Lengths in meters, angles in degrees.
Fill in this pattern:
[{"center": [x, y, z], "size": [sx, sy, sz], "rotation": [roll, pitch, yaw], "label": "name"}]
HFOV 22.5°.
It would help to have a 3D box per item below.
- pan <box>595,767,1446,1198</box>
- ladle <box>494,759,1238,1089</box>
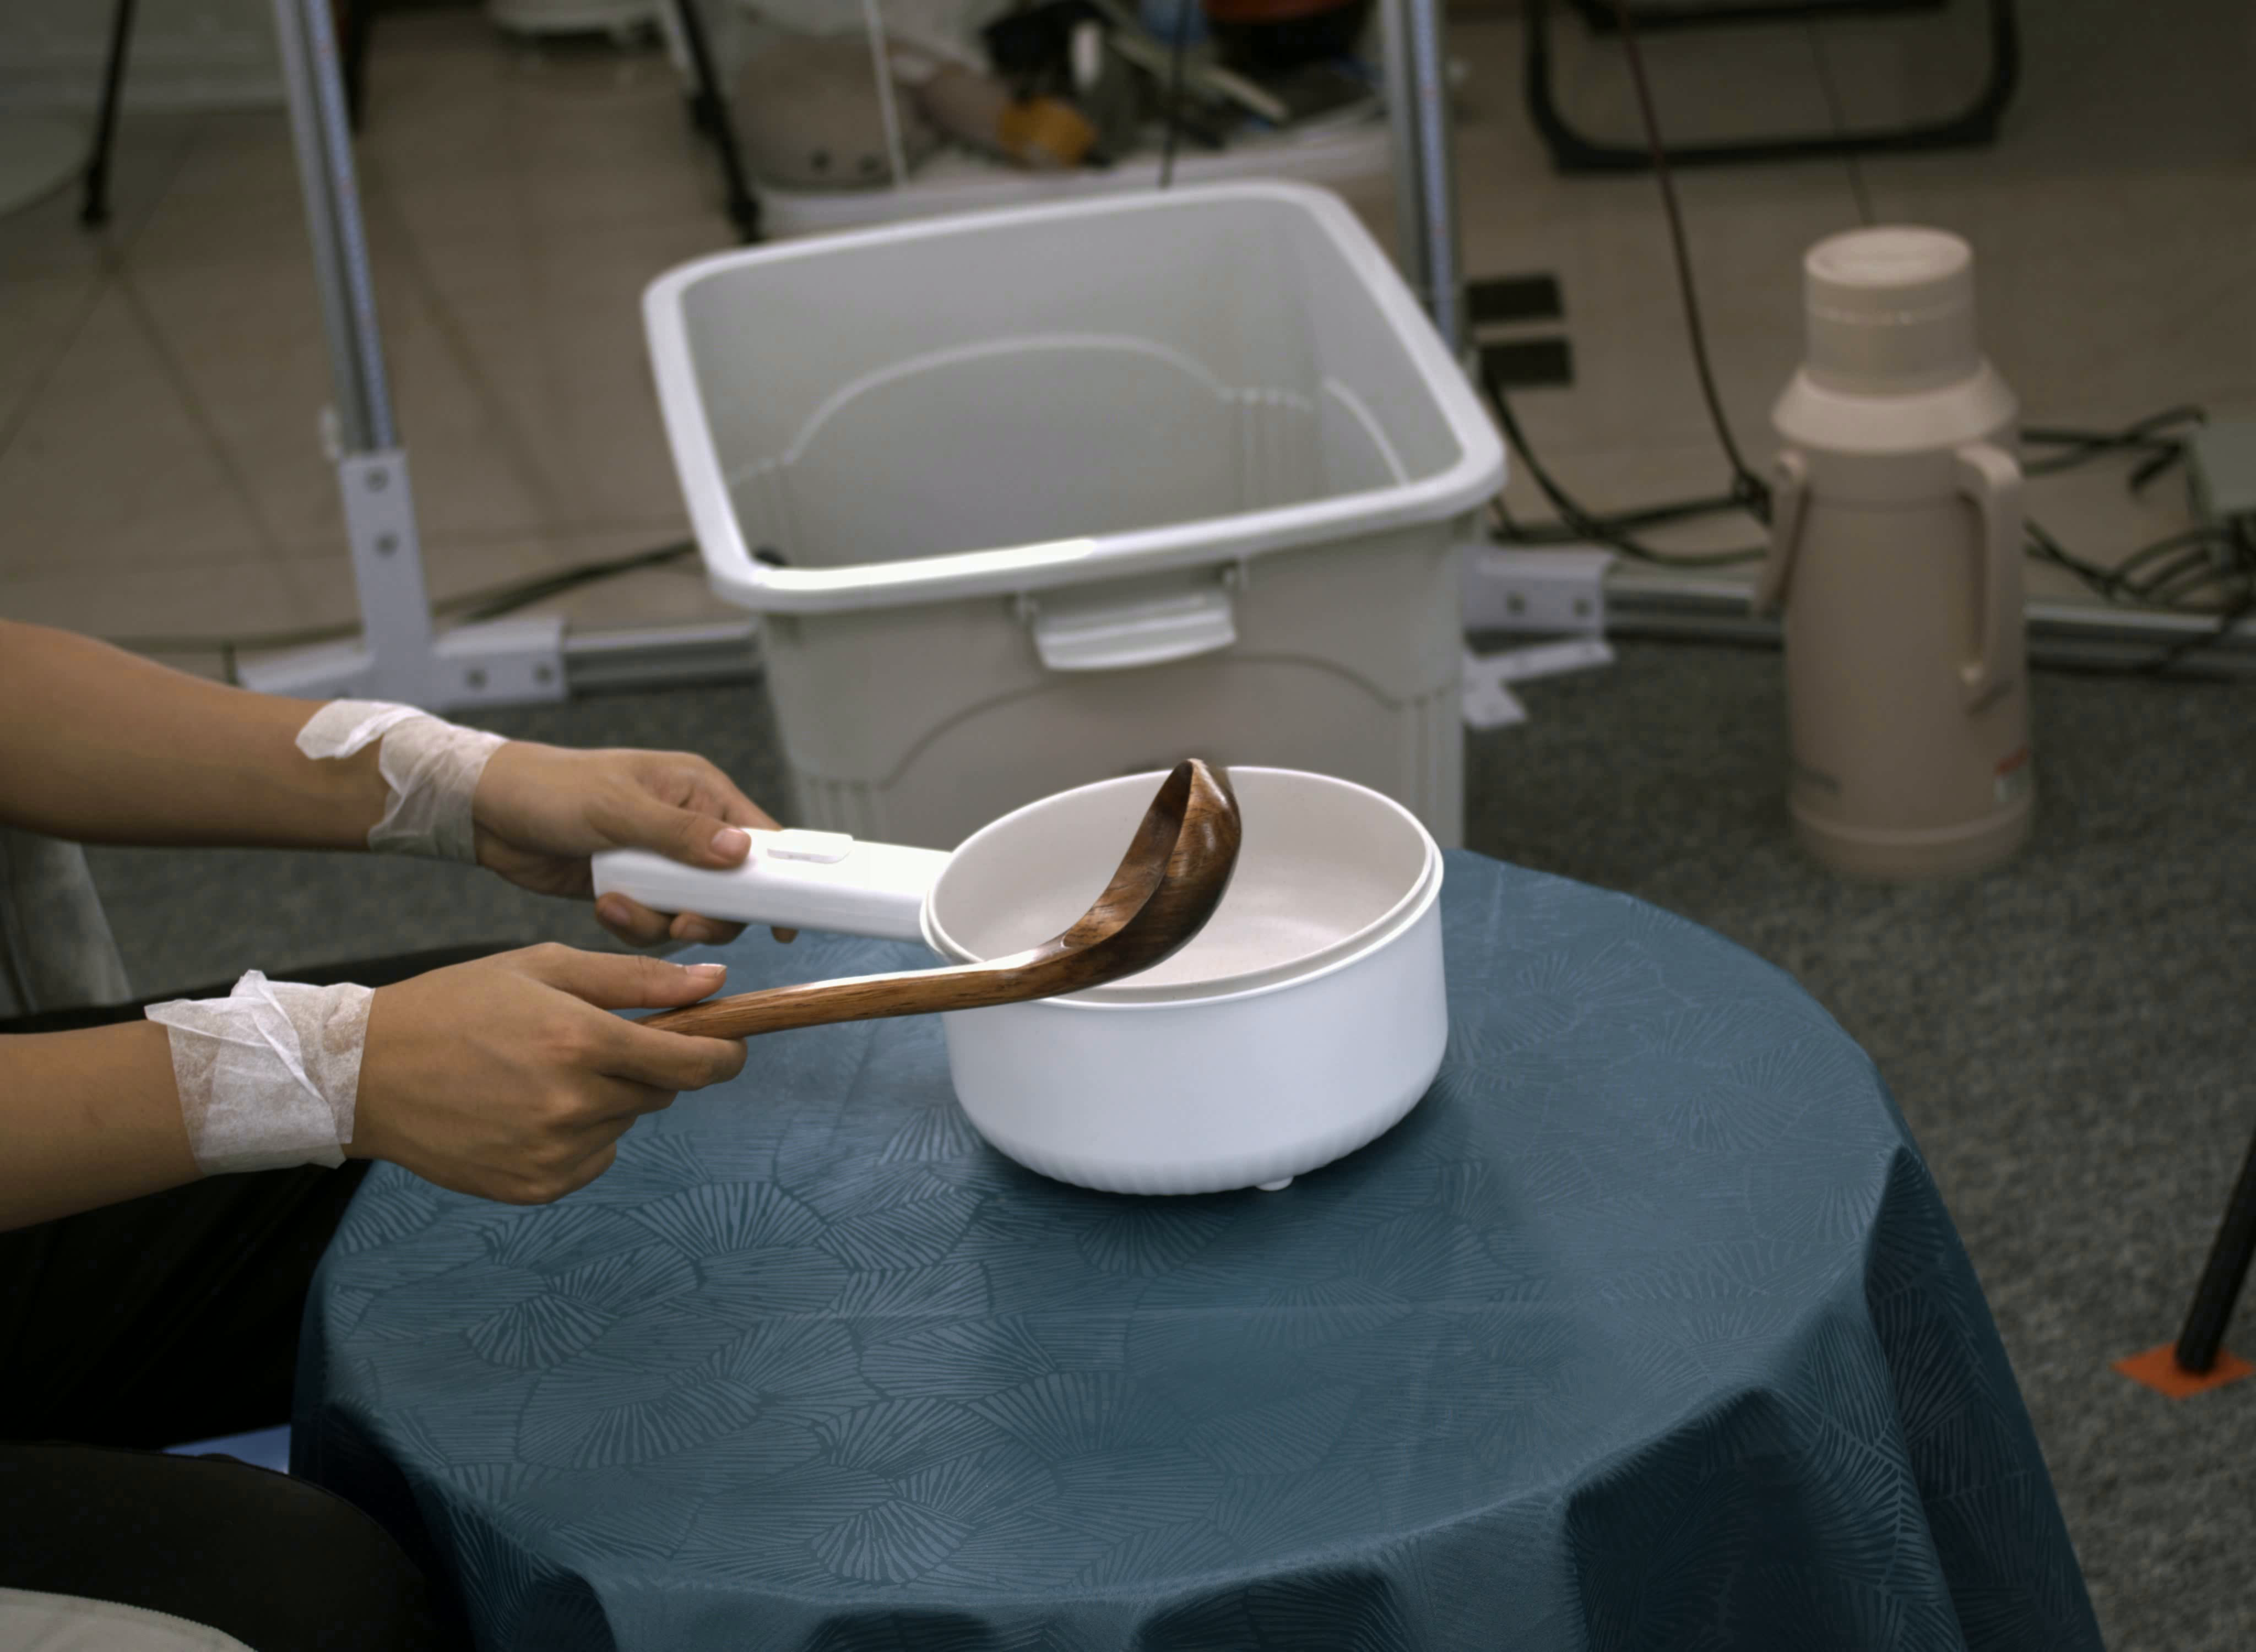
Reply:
[{"center": [-0.045, 0.058, 2.220], "size": [0.353, 0.104, 0.198], "rotation": [5, 29, 26], "label": "pan"}, {"center": [-0.094, 0.034, 2.000], "size": [0.273, 0.077, 0.082], "rotation": [-9, 3, -3], "label": "ladle"}]
